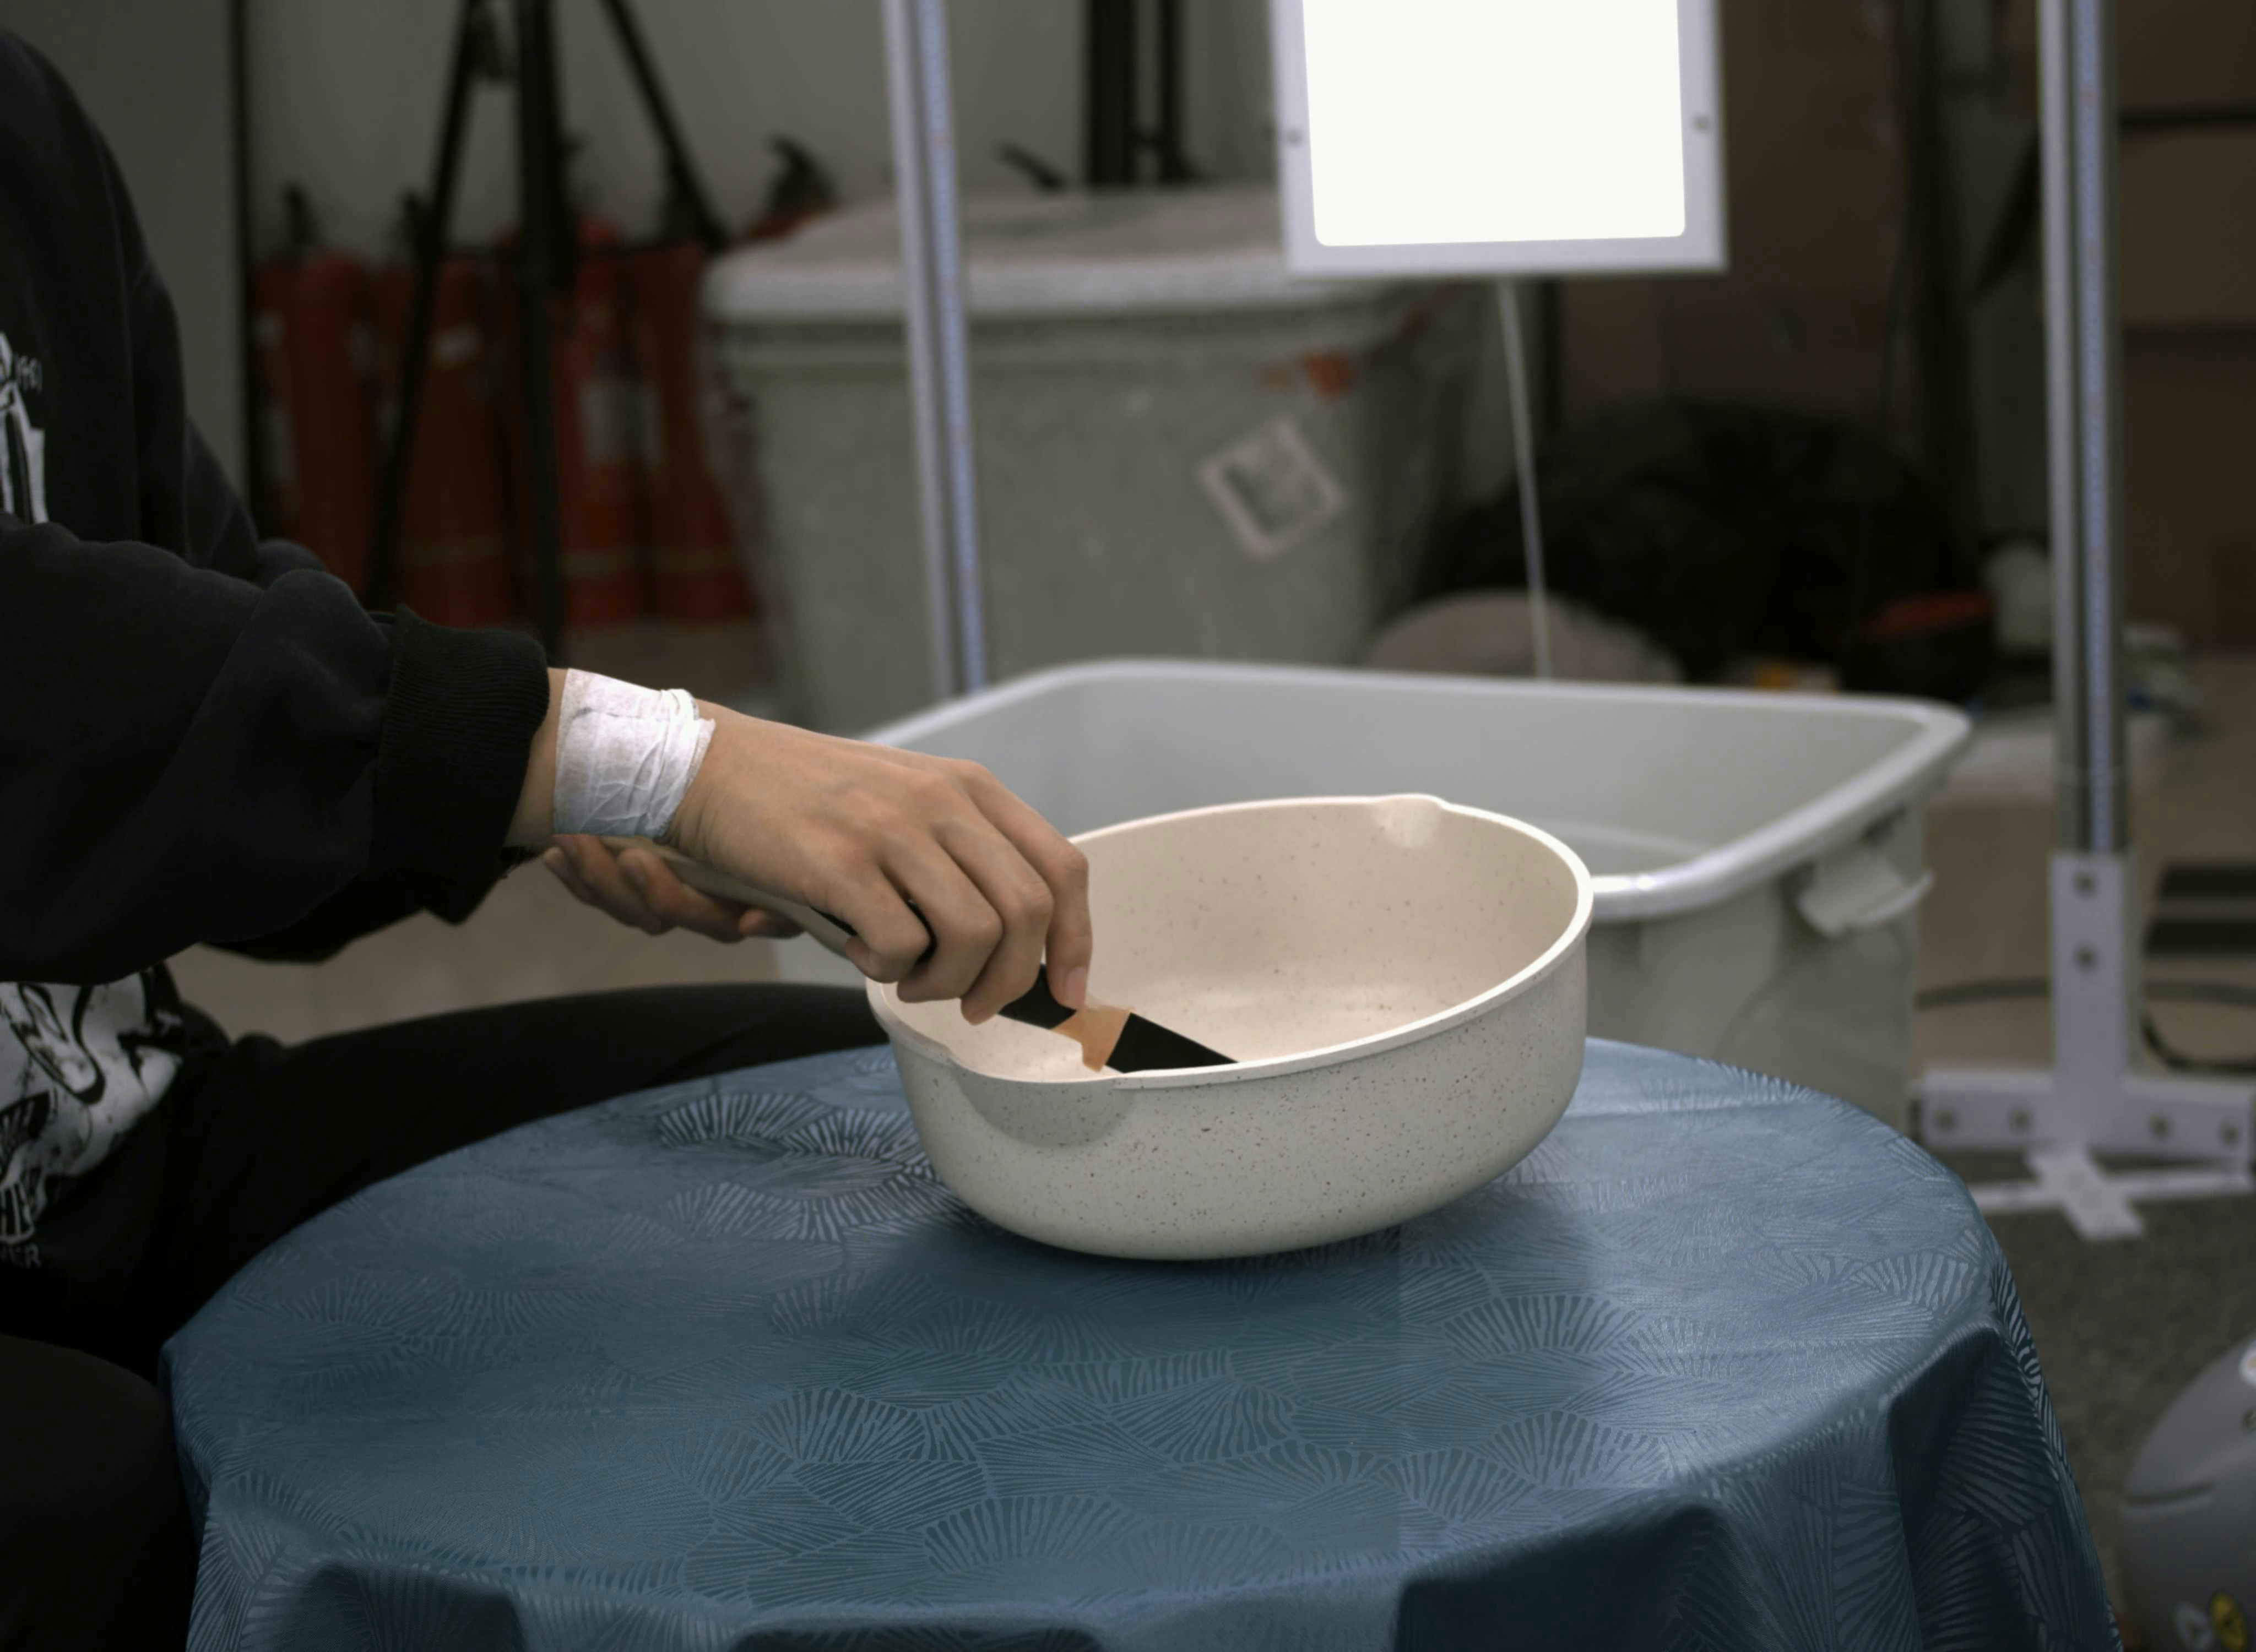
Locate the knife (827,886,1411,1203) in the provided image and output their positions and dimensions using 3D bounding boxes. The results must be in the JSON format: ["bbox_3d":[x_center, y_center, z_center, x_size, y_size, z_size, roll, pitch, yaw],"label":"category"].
[{"bbox_3d":[-0.001,0.073,1.827,0.223,0.026,0.017,25,14,-11],"label":"knife"}]

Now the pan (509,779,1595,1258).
[{"bbox_3d":[-0.036,0.057,1.944,0.444,0.102,0.257,5,26,35],"label":"pan"}]
